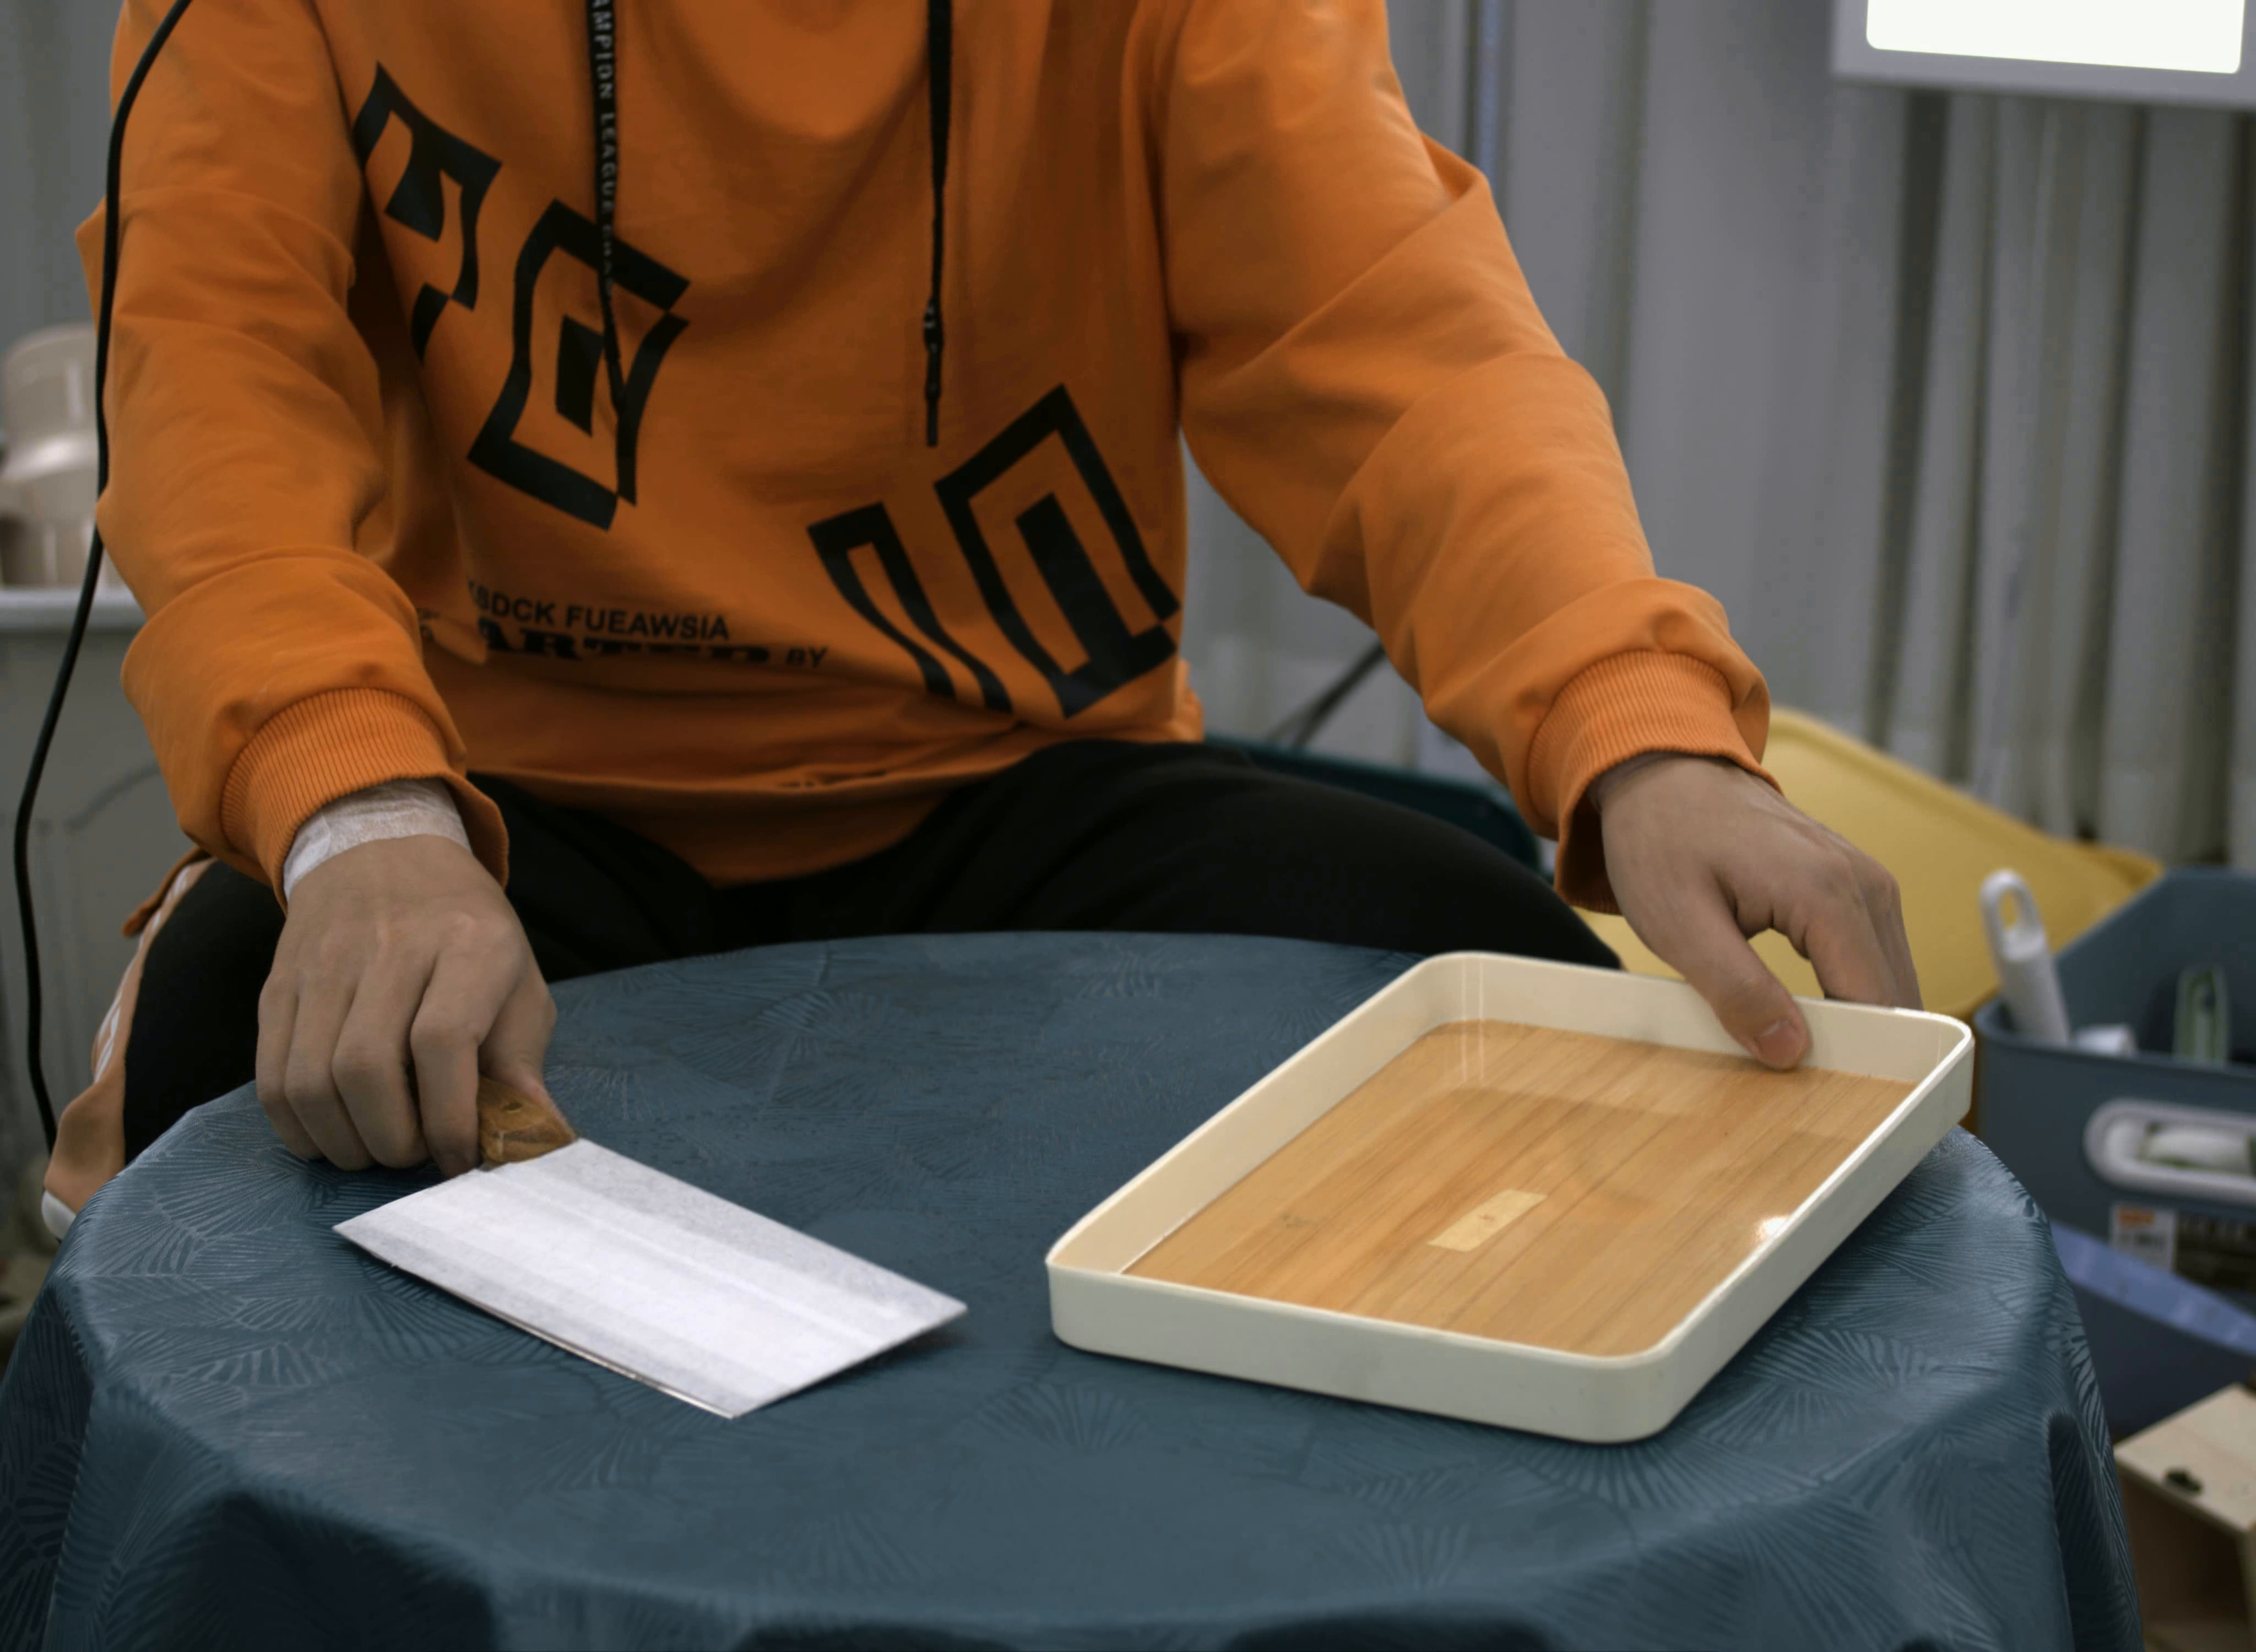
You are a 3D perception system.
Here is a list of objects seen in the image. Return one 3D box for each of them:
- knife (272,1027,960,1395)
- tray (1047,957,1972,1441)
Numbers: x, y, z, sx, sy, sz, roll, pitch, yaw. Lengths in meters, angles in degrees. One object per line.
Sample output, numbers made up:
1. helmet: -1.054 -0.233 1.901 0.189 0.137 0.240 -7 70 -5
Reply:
1. knife: -0.179 0.116 1.572 0.093 0.021 0.301 -21 27 -39
2. tray: 0.121 0.106 1.580 0.189 0.027 0.301 8 19 25
